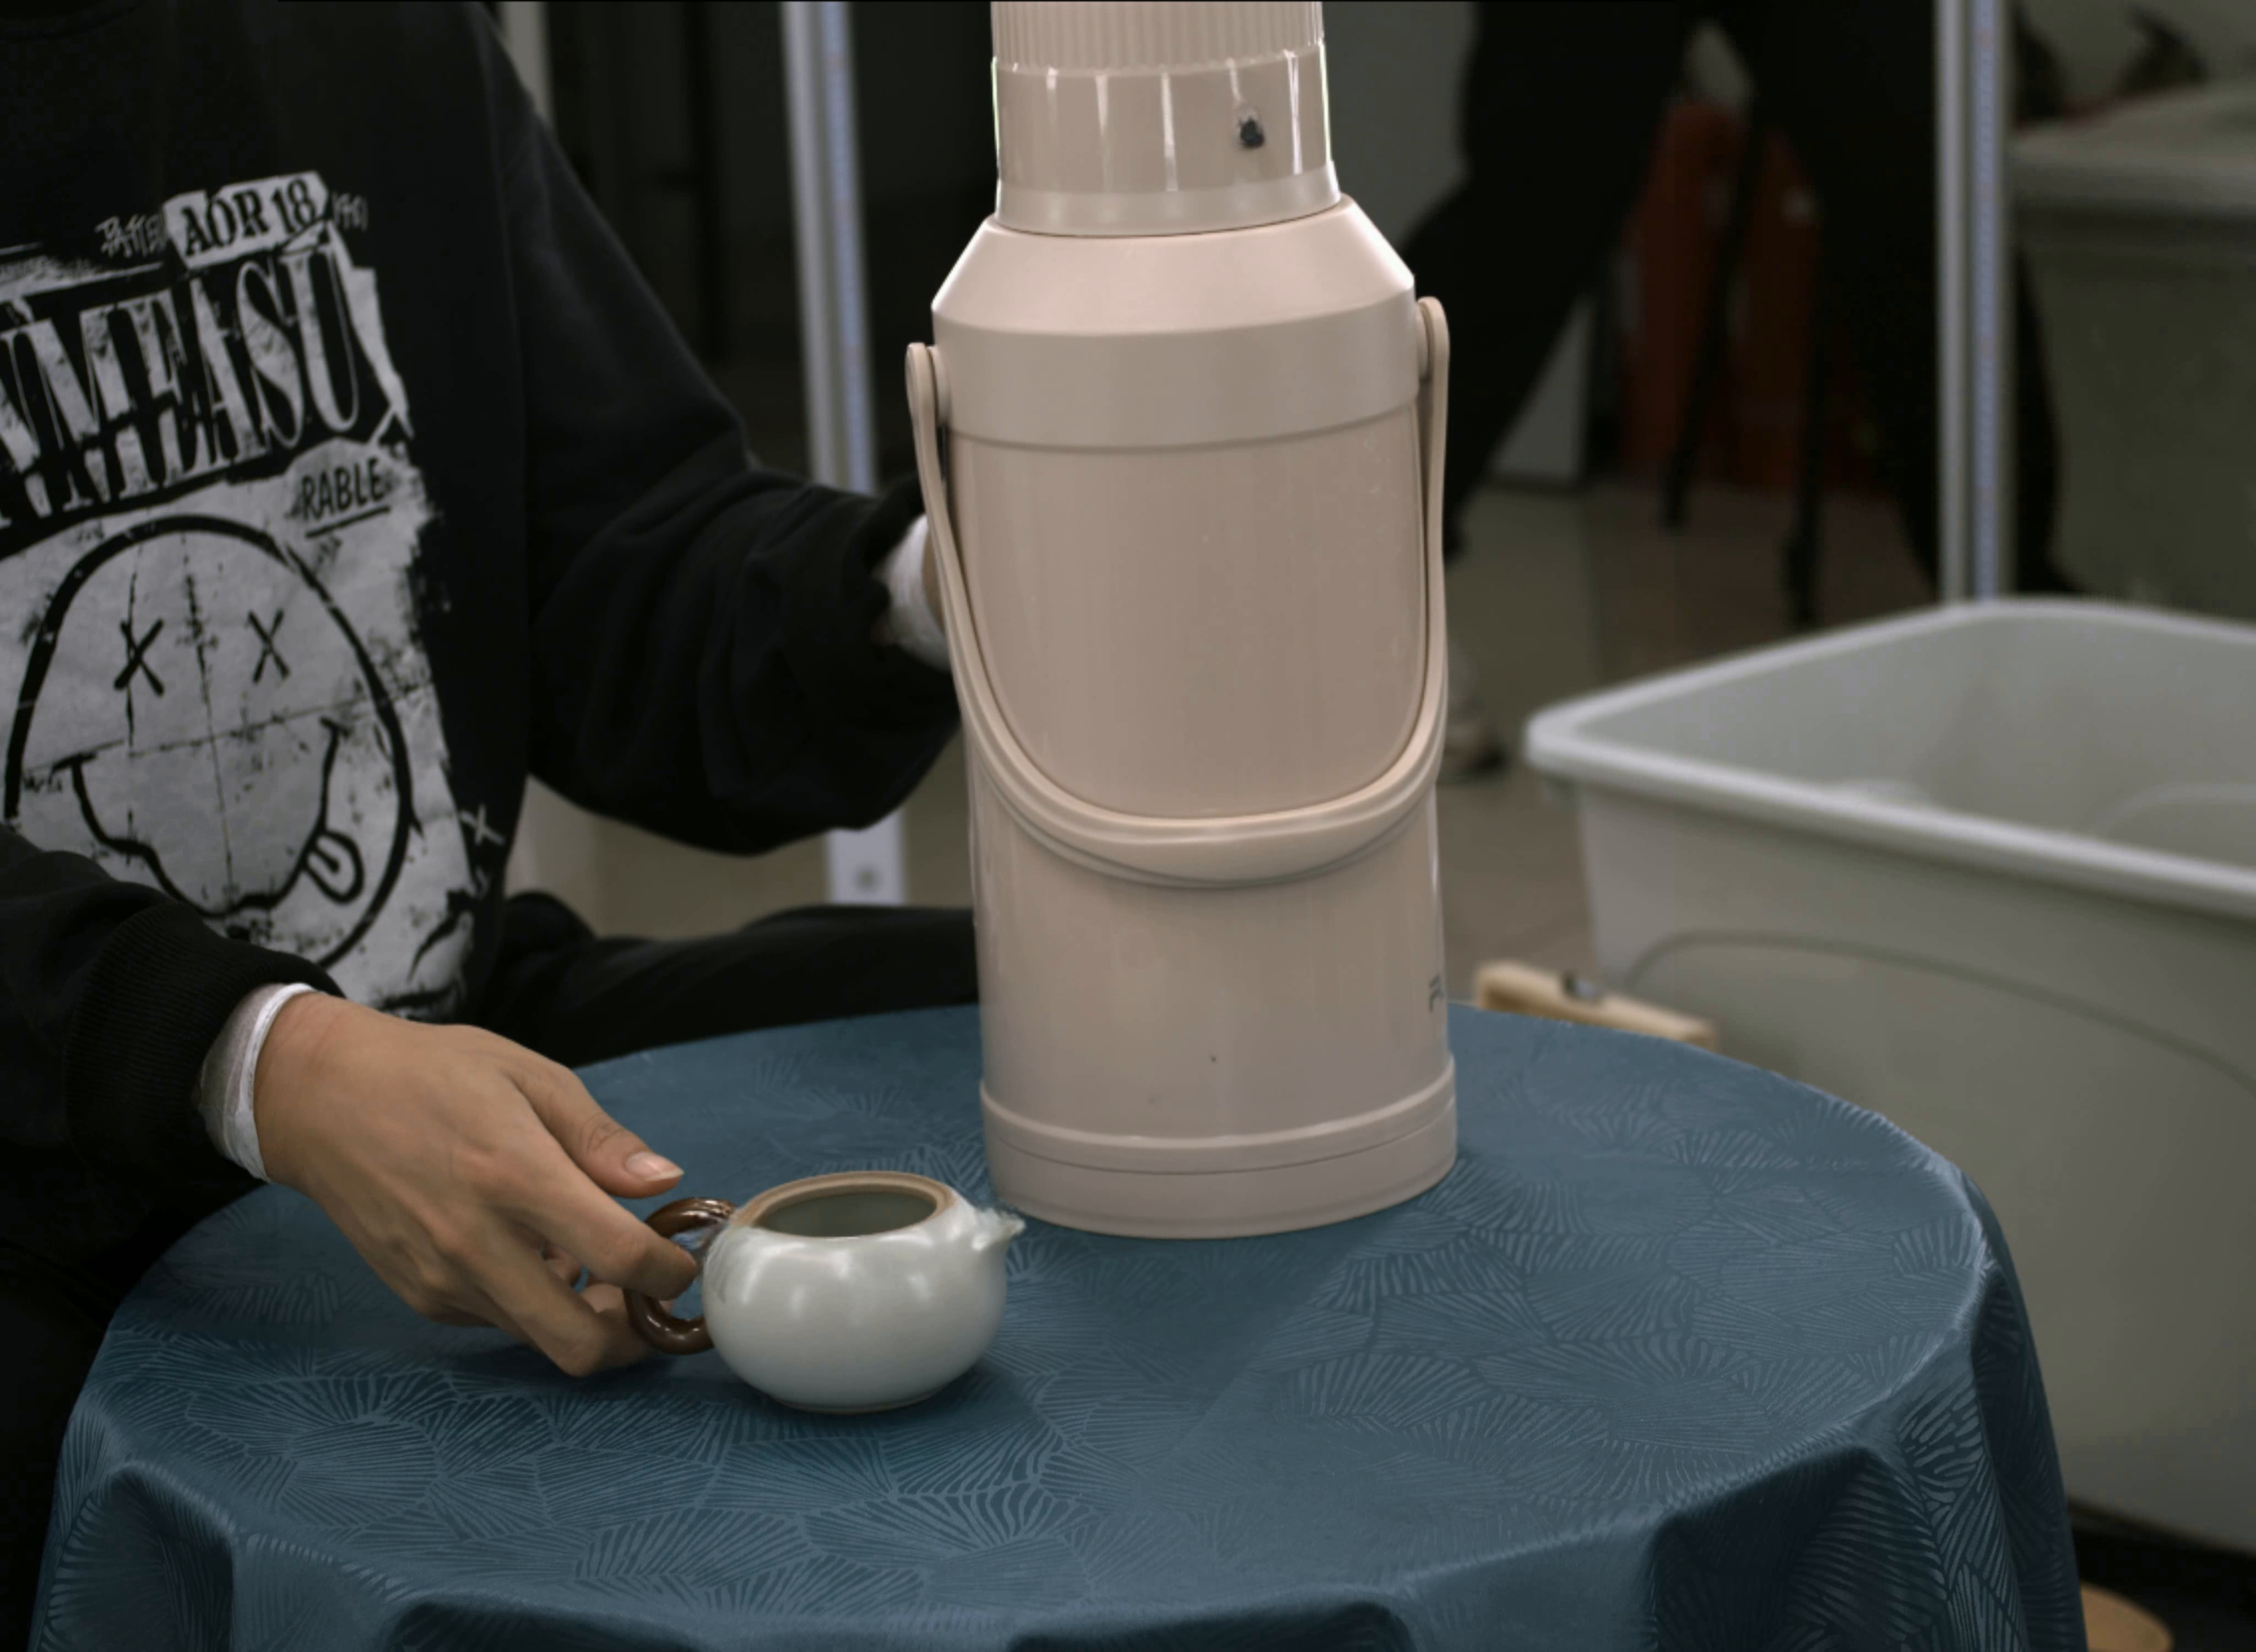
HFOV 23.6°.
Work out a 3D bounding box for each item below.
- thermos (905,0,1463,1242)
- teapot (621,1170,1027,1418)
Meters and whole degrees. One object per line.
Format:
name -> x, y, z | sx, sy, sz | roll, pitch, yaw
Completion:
thermos -> 0.019, -0.084, 1.764 | 0.172, 0.410, 0.208 | -8, 14, -9
teapot -> -0.090, 0.139, 1.609 | 0.127, 0.060, 0.091 | 1, 17, 13
